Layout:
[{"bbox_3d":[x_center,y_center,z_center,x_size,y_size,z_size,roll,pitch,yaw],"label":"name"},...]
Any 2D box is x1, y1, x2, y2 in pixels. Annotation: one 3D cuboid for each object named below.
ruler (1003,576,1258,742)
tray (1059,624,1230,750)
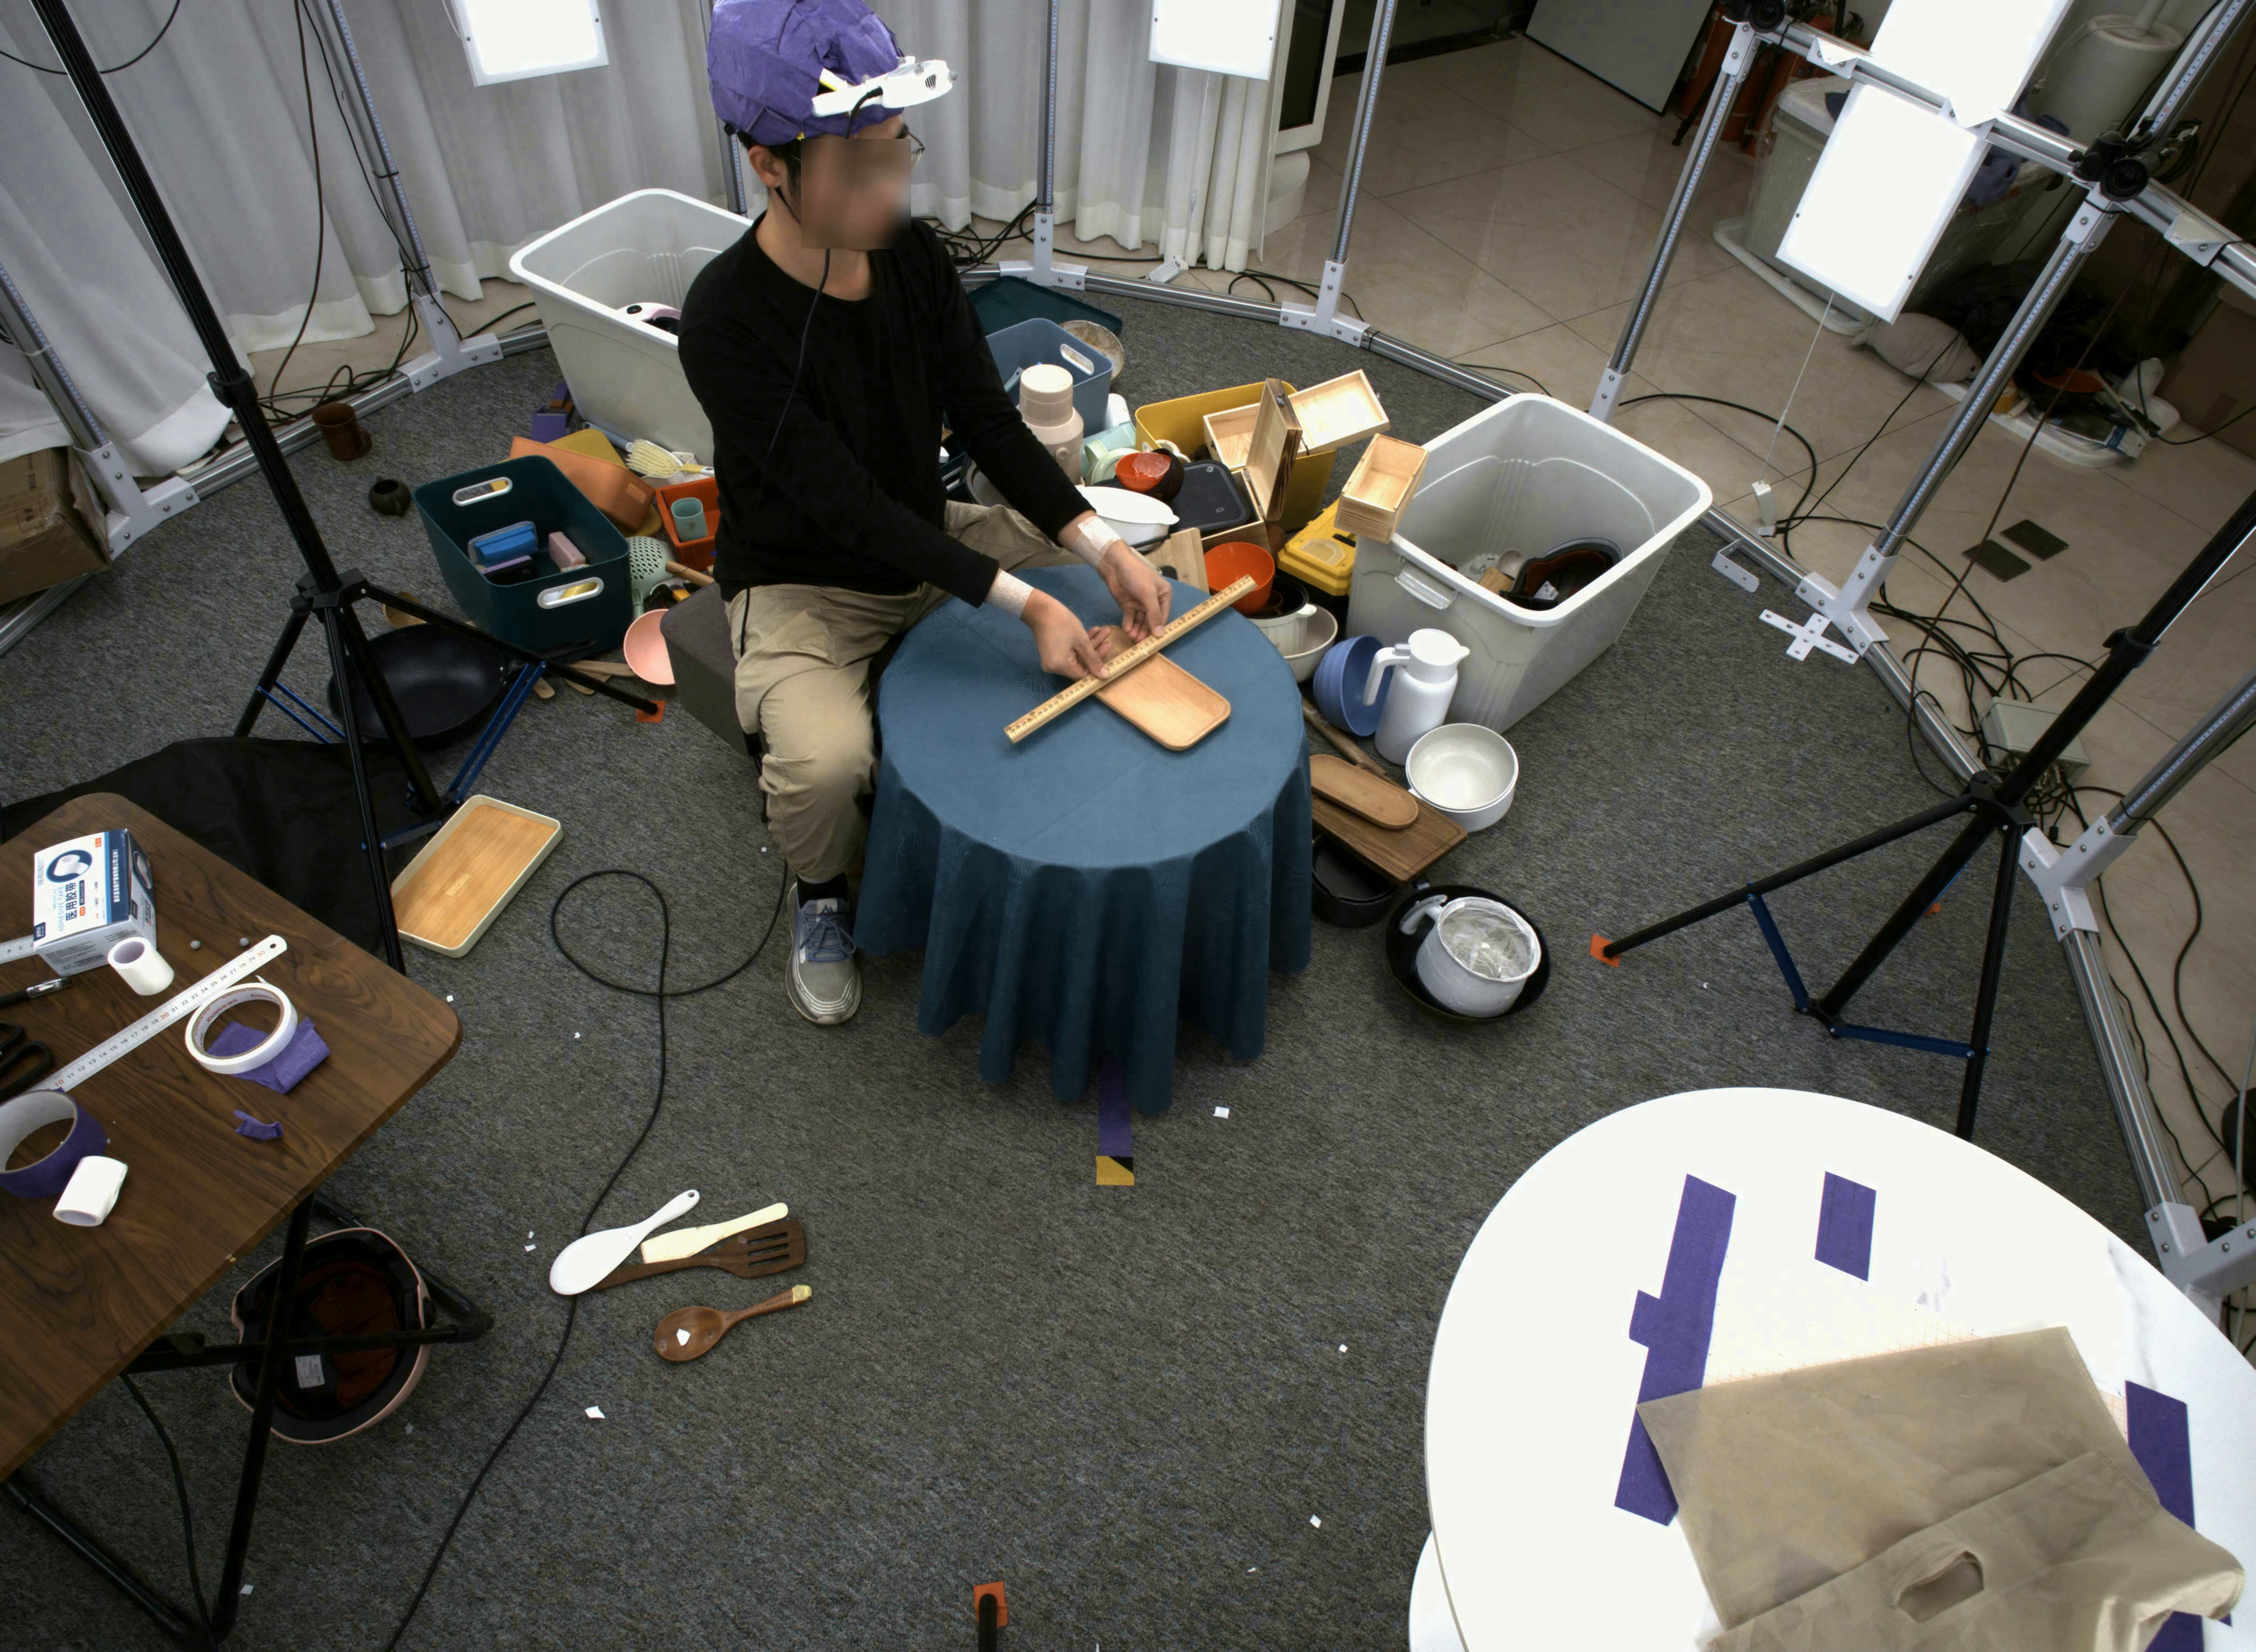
[{"bbox_3d":[0.015,-0.251,1.860,0.505,0.006,0.027,-35,80,-30],"label":"ruler"},{"bbox_3d":[0.022,-0.201,1.835,0.132,0.022,0.254,-34,58,-31],"label":"tray"}]
